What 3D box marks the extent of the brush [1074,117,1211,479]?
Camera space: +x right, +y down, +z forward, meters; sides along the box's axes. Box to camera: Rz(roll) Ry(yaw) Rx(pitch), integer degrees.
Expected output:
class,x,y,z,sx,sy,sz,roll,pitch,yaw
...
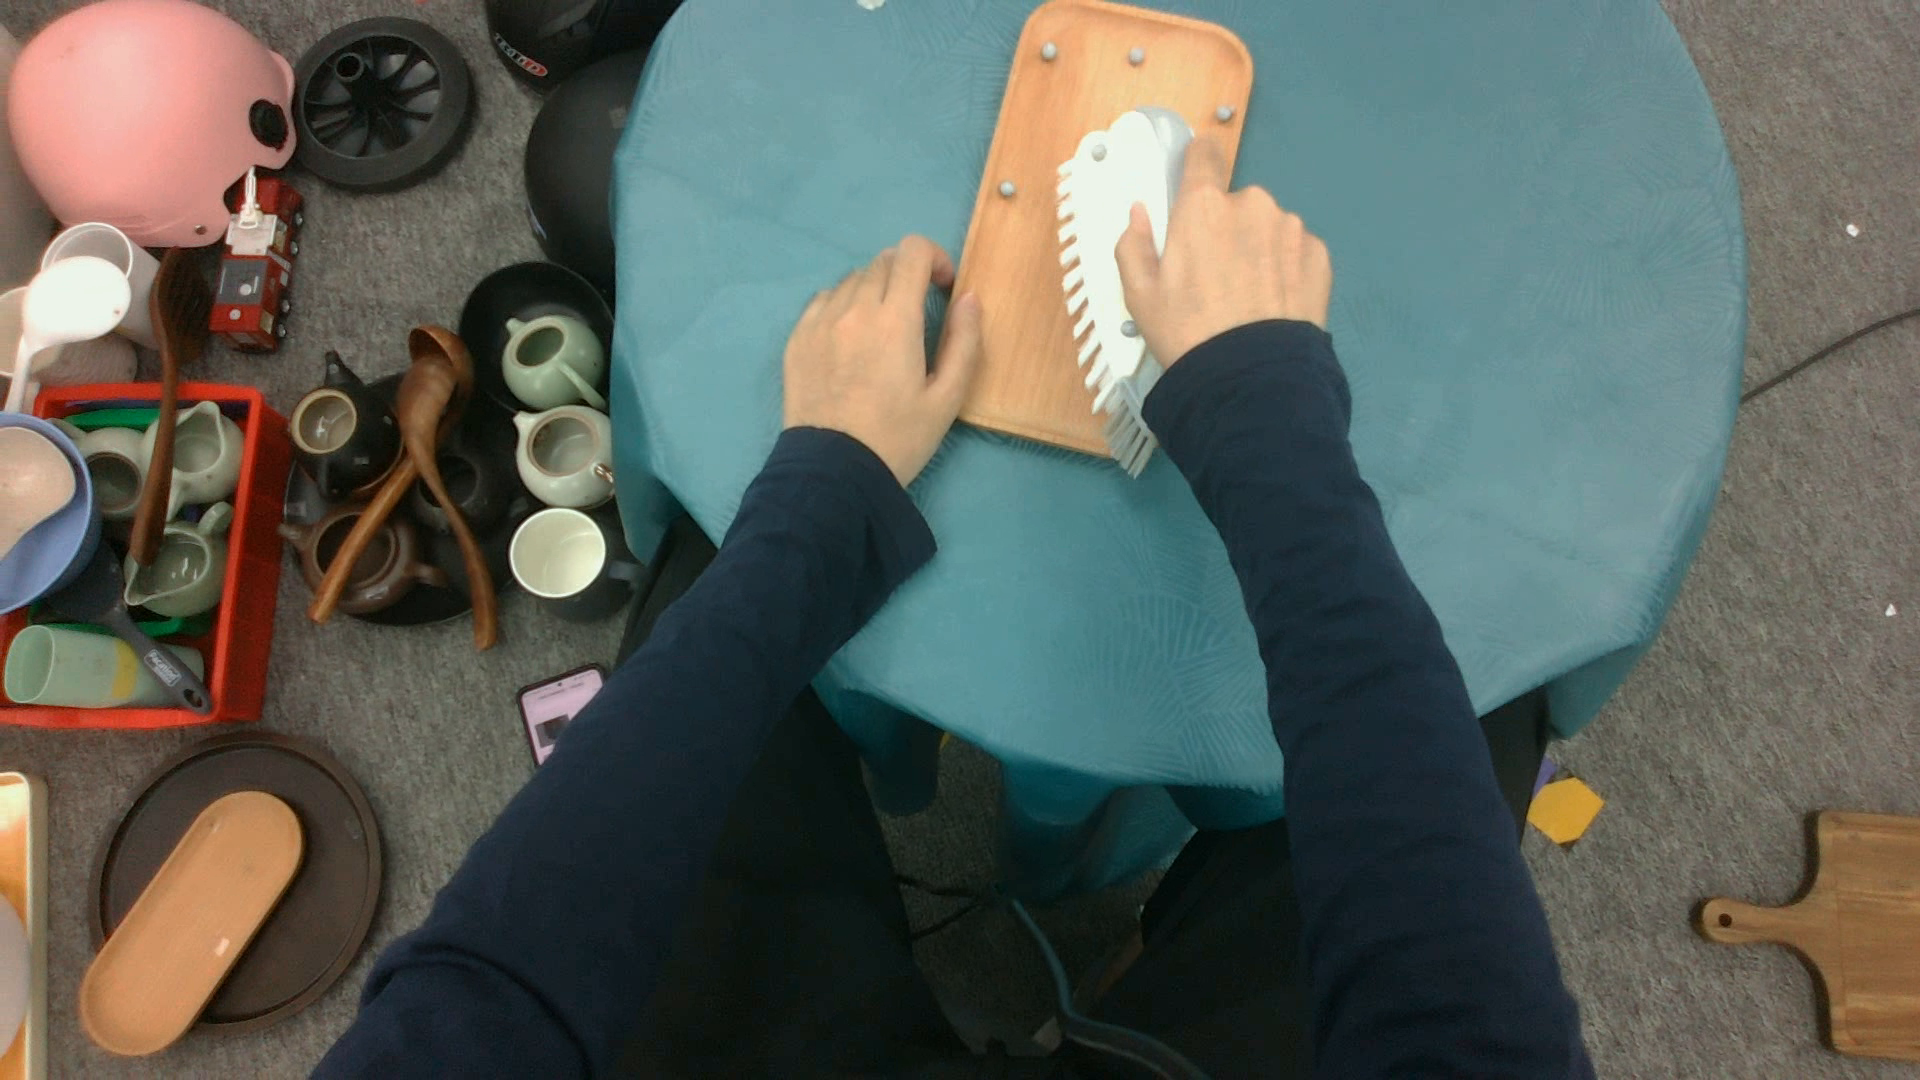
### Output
class,x,y,z,sx,sy,sz,roll,pitch,yaw
brush,0.099,-0.126,0.676,0.061,0.094,0.176,3,70,-12

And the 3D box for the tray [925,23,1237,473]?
class,x,y,z,sx,sy,sz,roll,pitch,yaw
tray,0.067,-0.160,0.740,0.130,0.023,0.251,12,77,7
